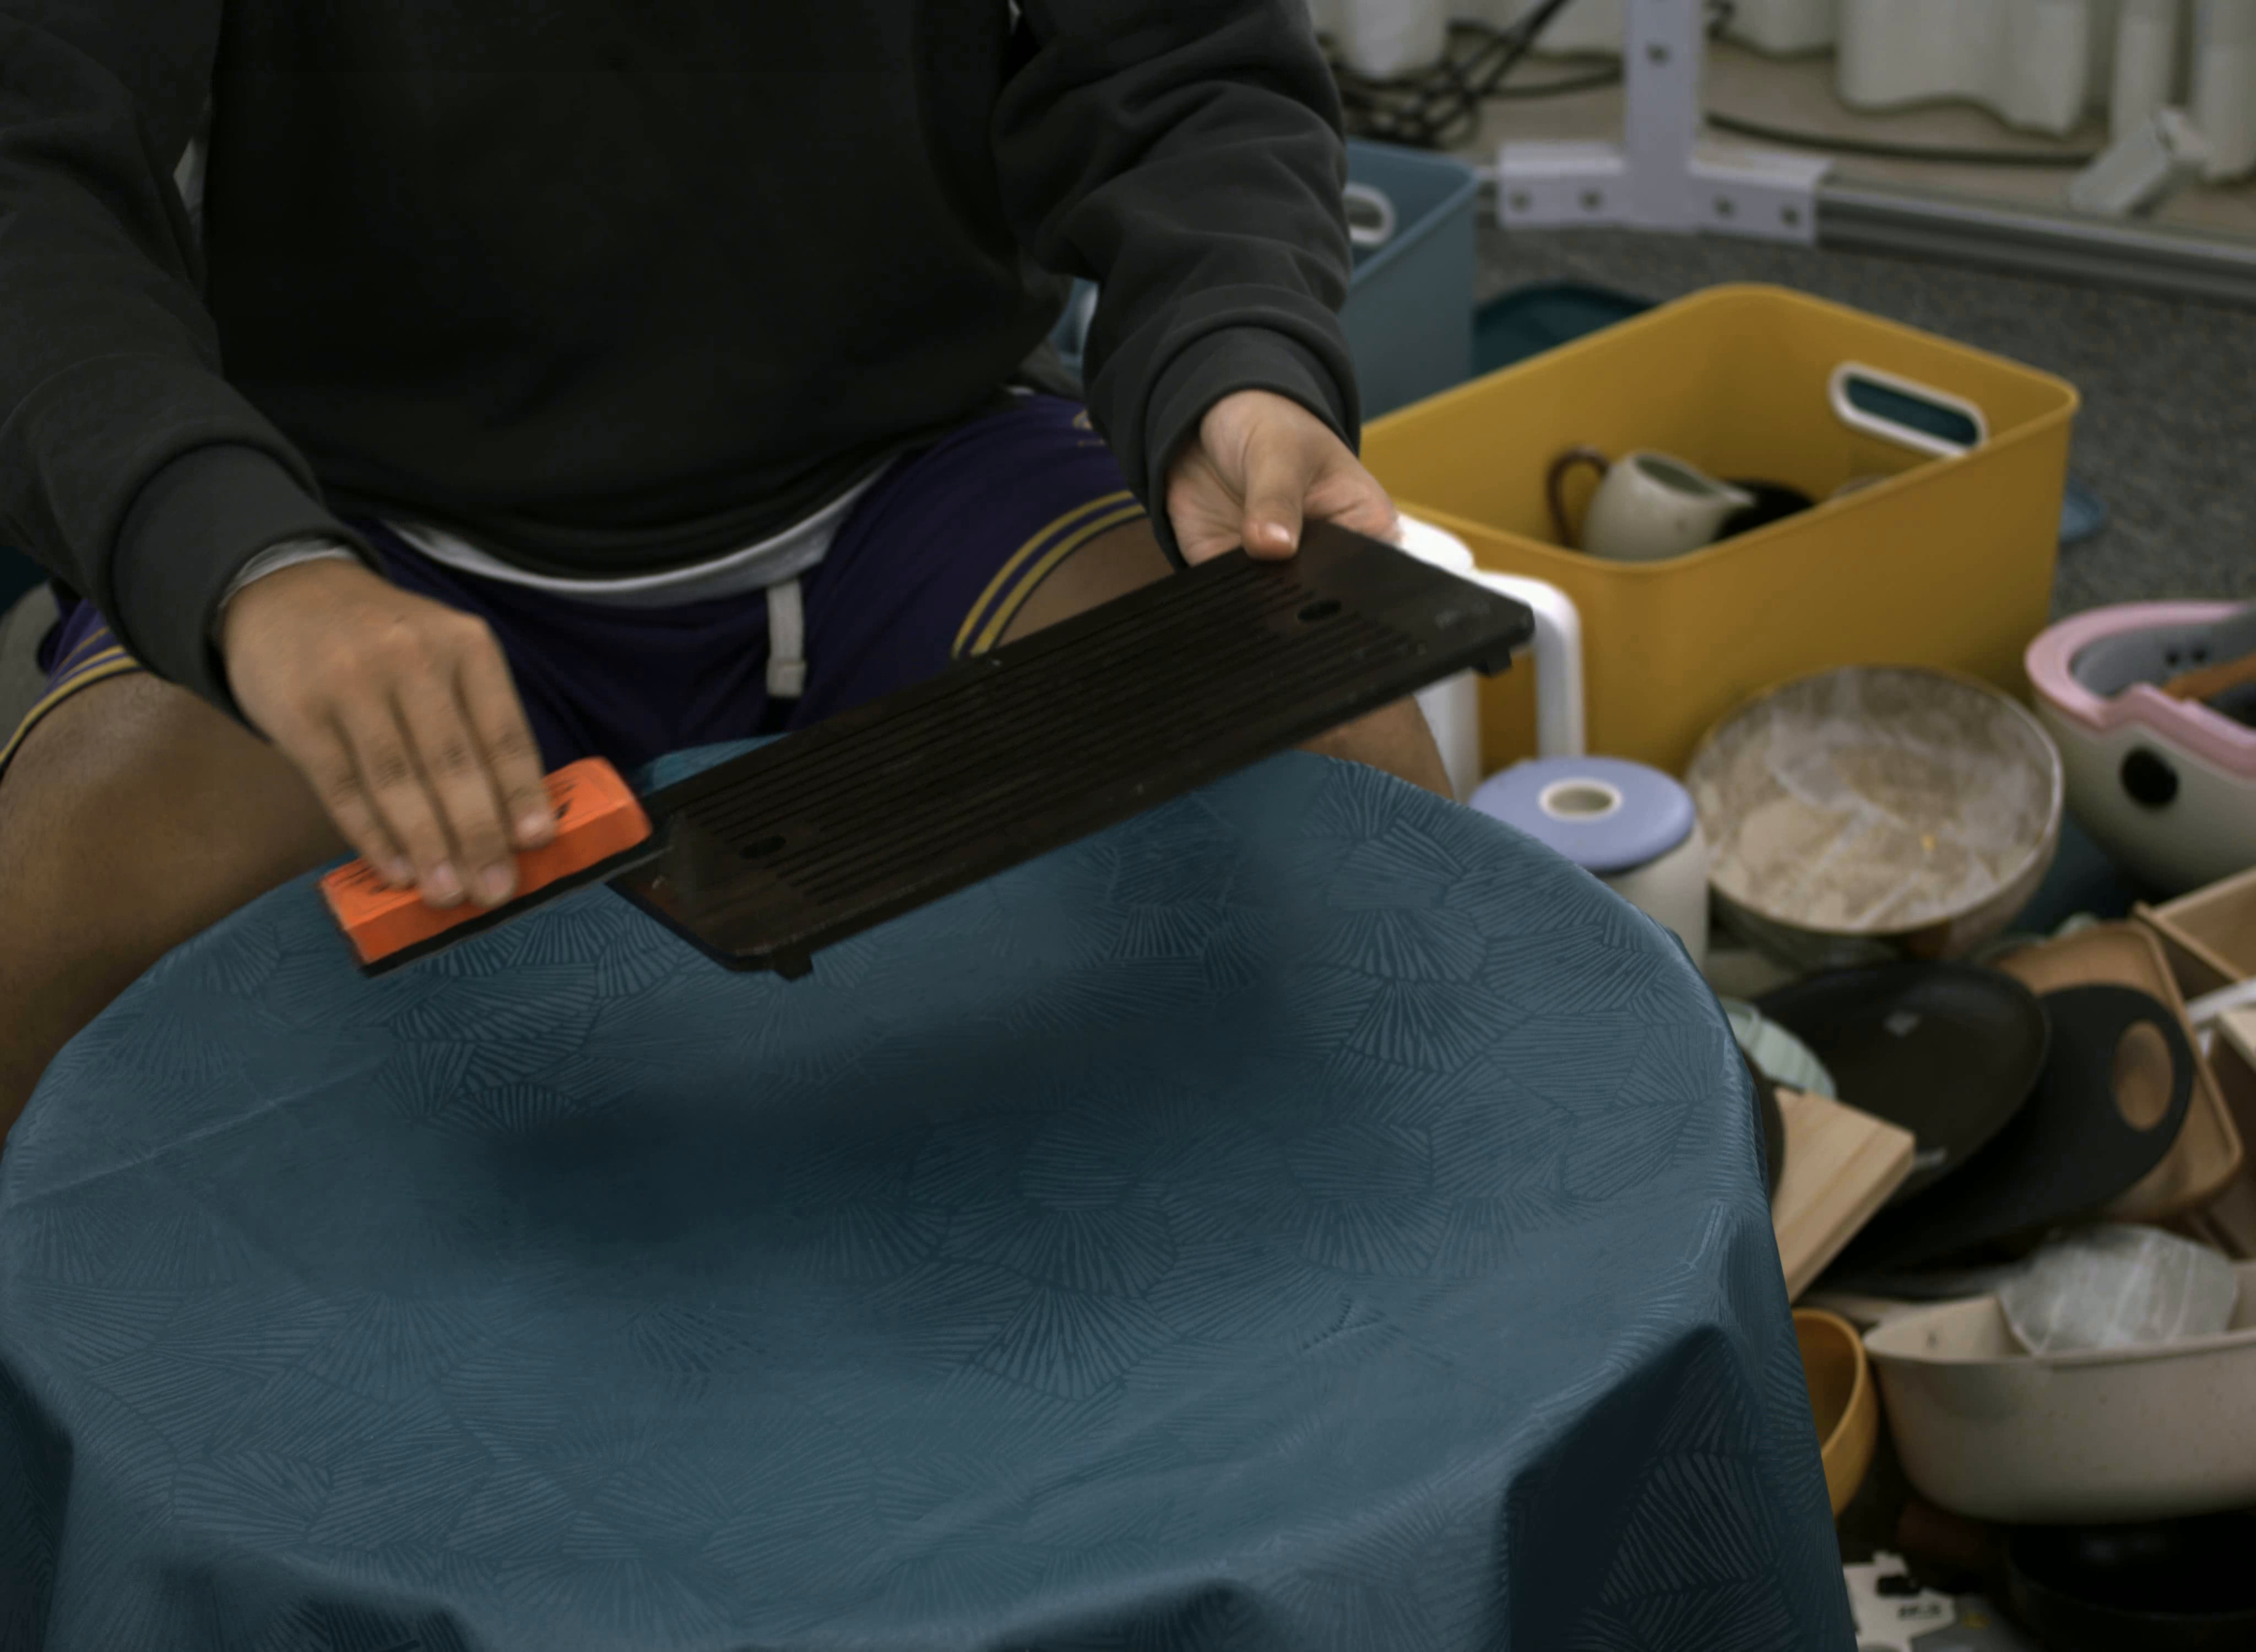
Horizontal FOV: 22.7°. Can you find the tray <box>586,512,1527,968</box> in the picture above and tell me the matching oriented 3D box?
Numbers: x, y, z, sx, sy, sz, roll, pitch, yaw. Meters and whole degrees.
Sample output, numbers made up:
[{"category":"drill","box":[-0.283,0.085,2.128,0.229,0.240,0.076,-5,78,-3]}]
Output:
[{"category":"tray","box":[-0.028,-0.031,1.894,0.308,0.018,0.170,-24,23,-20]}]

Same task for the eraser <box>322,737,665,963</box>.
[{"category":"eraser","box":[-0.211,0.008,1.868,0.108,0.023,0.059,-26,23,-16]}]
